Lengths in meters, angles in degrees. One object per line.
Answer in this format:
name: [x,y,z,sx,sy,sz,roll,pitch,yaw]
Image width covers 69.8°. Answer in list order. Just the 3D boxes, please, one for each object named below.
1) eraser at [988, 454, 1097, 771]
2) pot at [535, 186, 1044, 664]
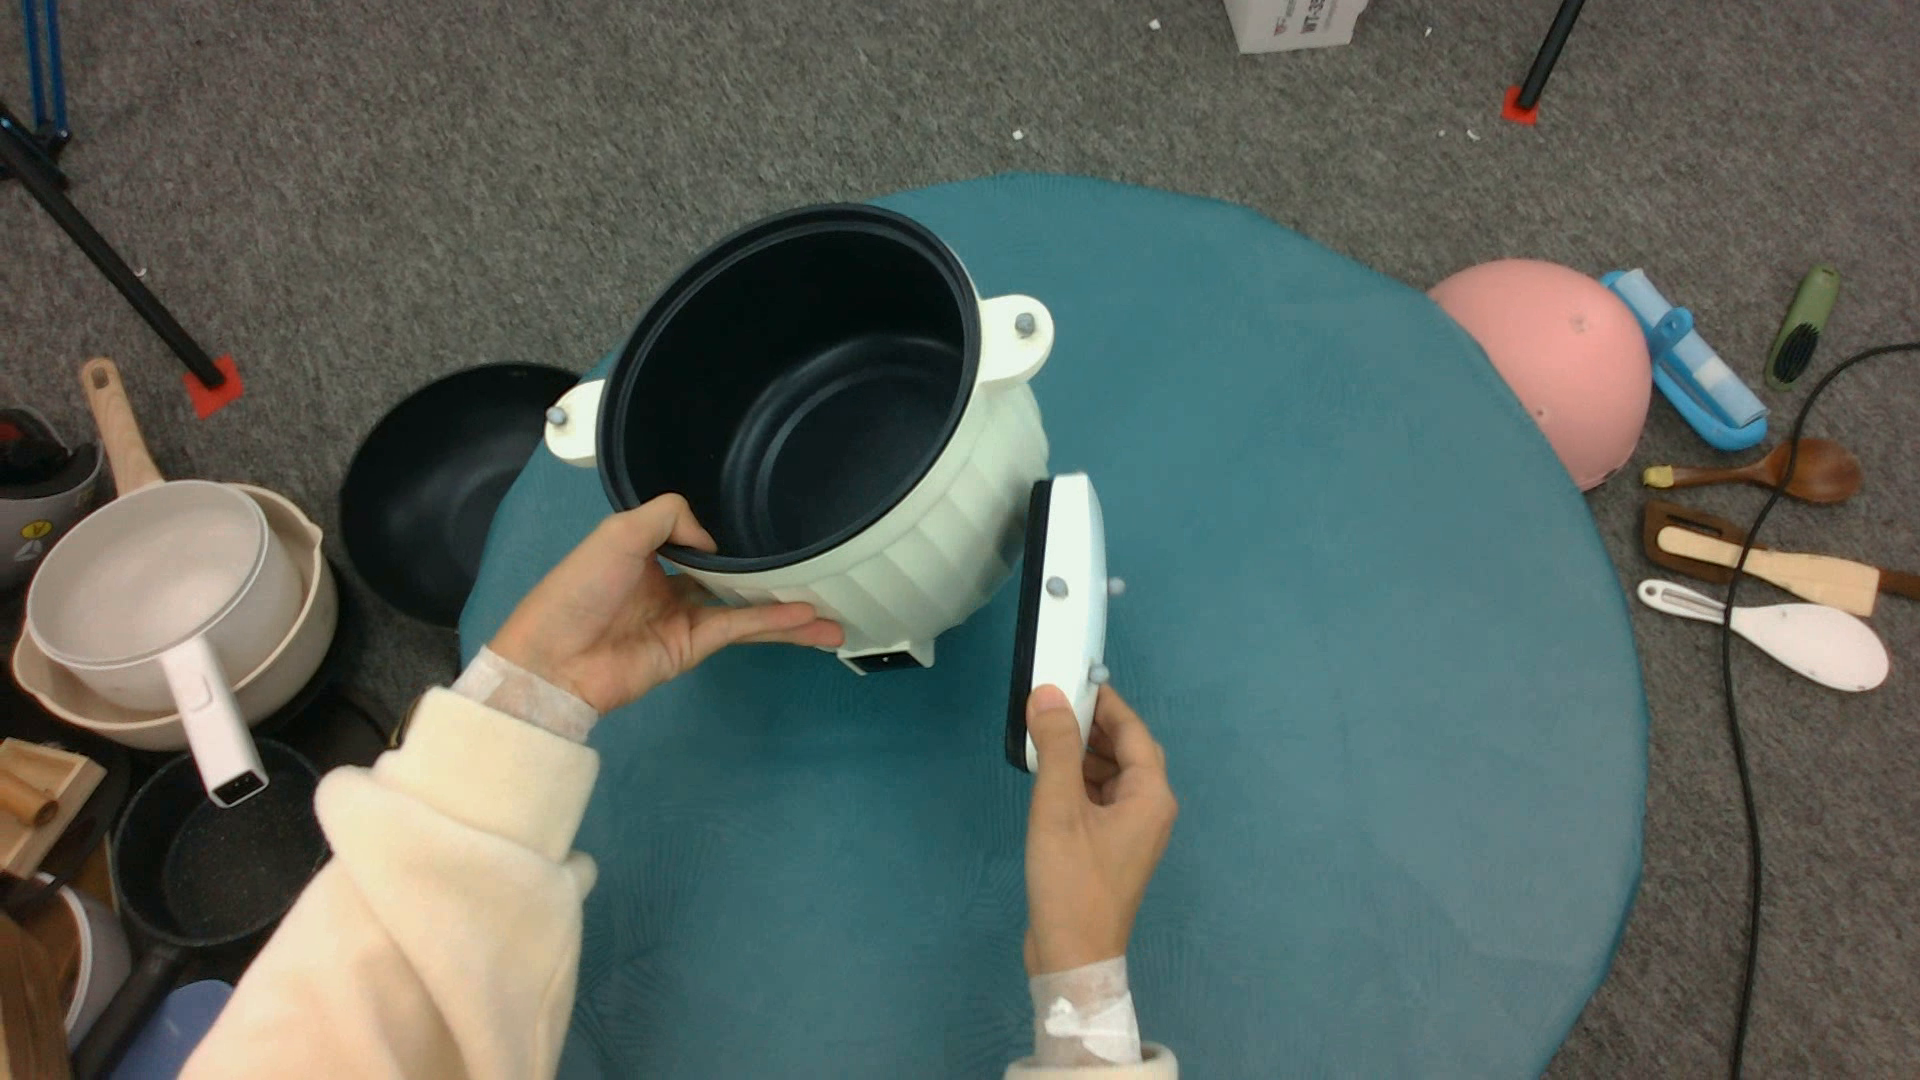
eraser: [0.038,0.030,0.586,0.034,0.063,0.131,1,75,16]
pot: [-0.058,-0.052,0.634,0.240,0.142,0.191,-9,66,18]
